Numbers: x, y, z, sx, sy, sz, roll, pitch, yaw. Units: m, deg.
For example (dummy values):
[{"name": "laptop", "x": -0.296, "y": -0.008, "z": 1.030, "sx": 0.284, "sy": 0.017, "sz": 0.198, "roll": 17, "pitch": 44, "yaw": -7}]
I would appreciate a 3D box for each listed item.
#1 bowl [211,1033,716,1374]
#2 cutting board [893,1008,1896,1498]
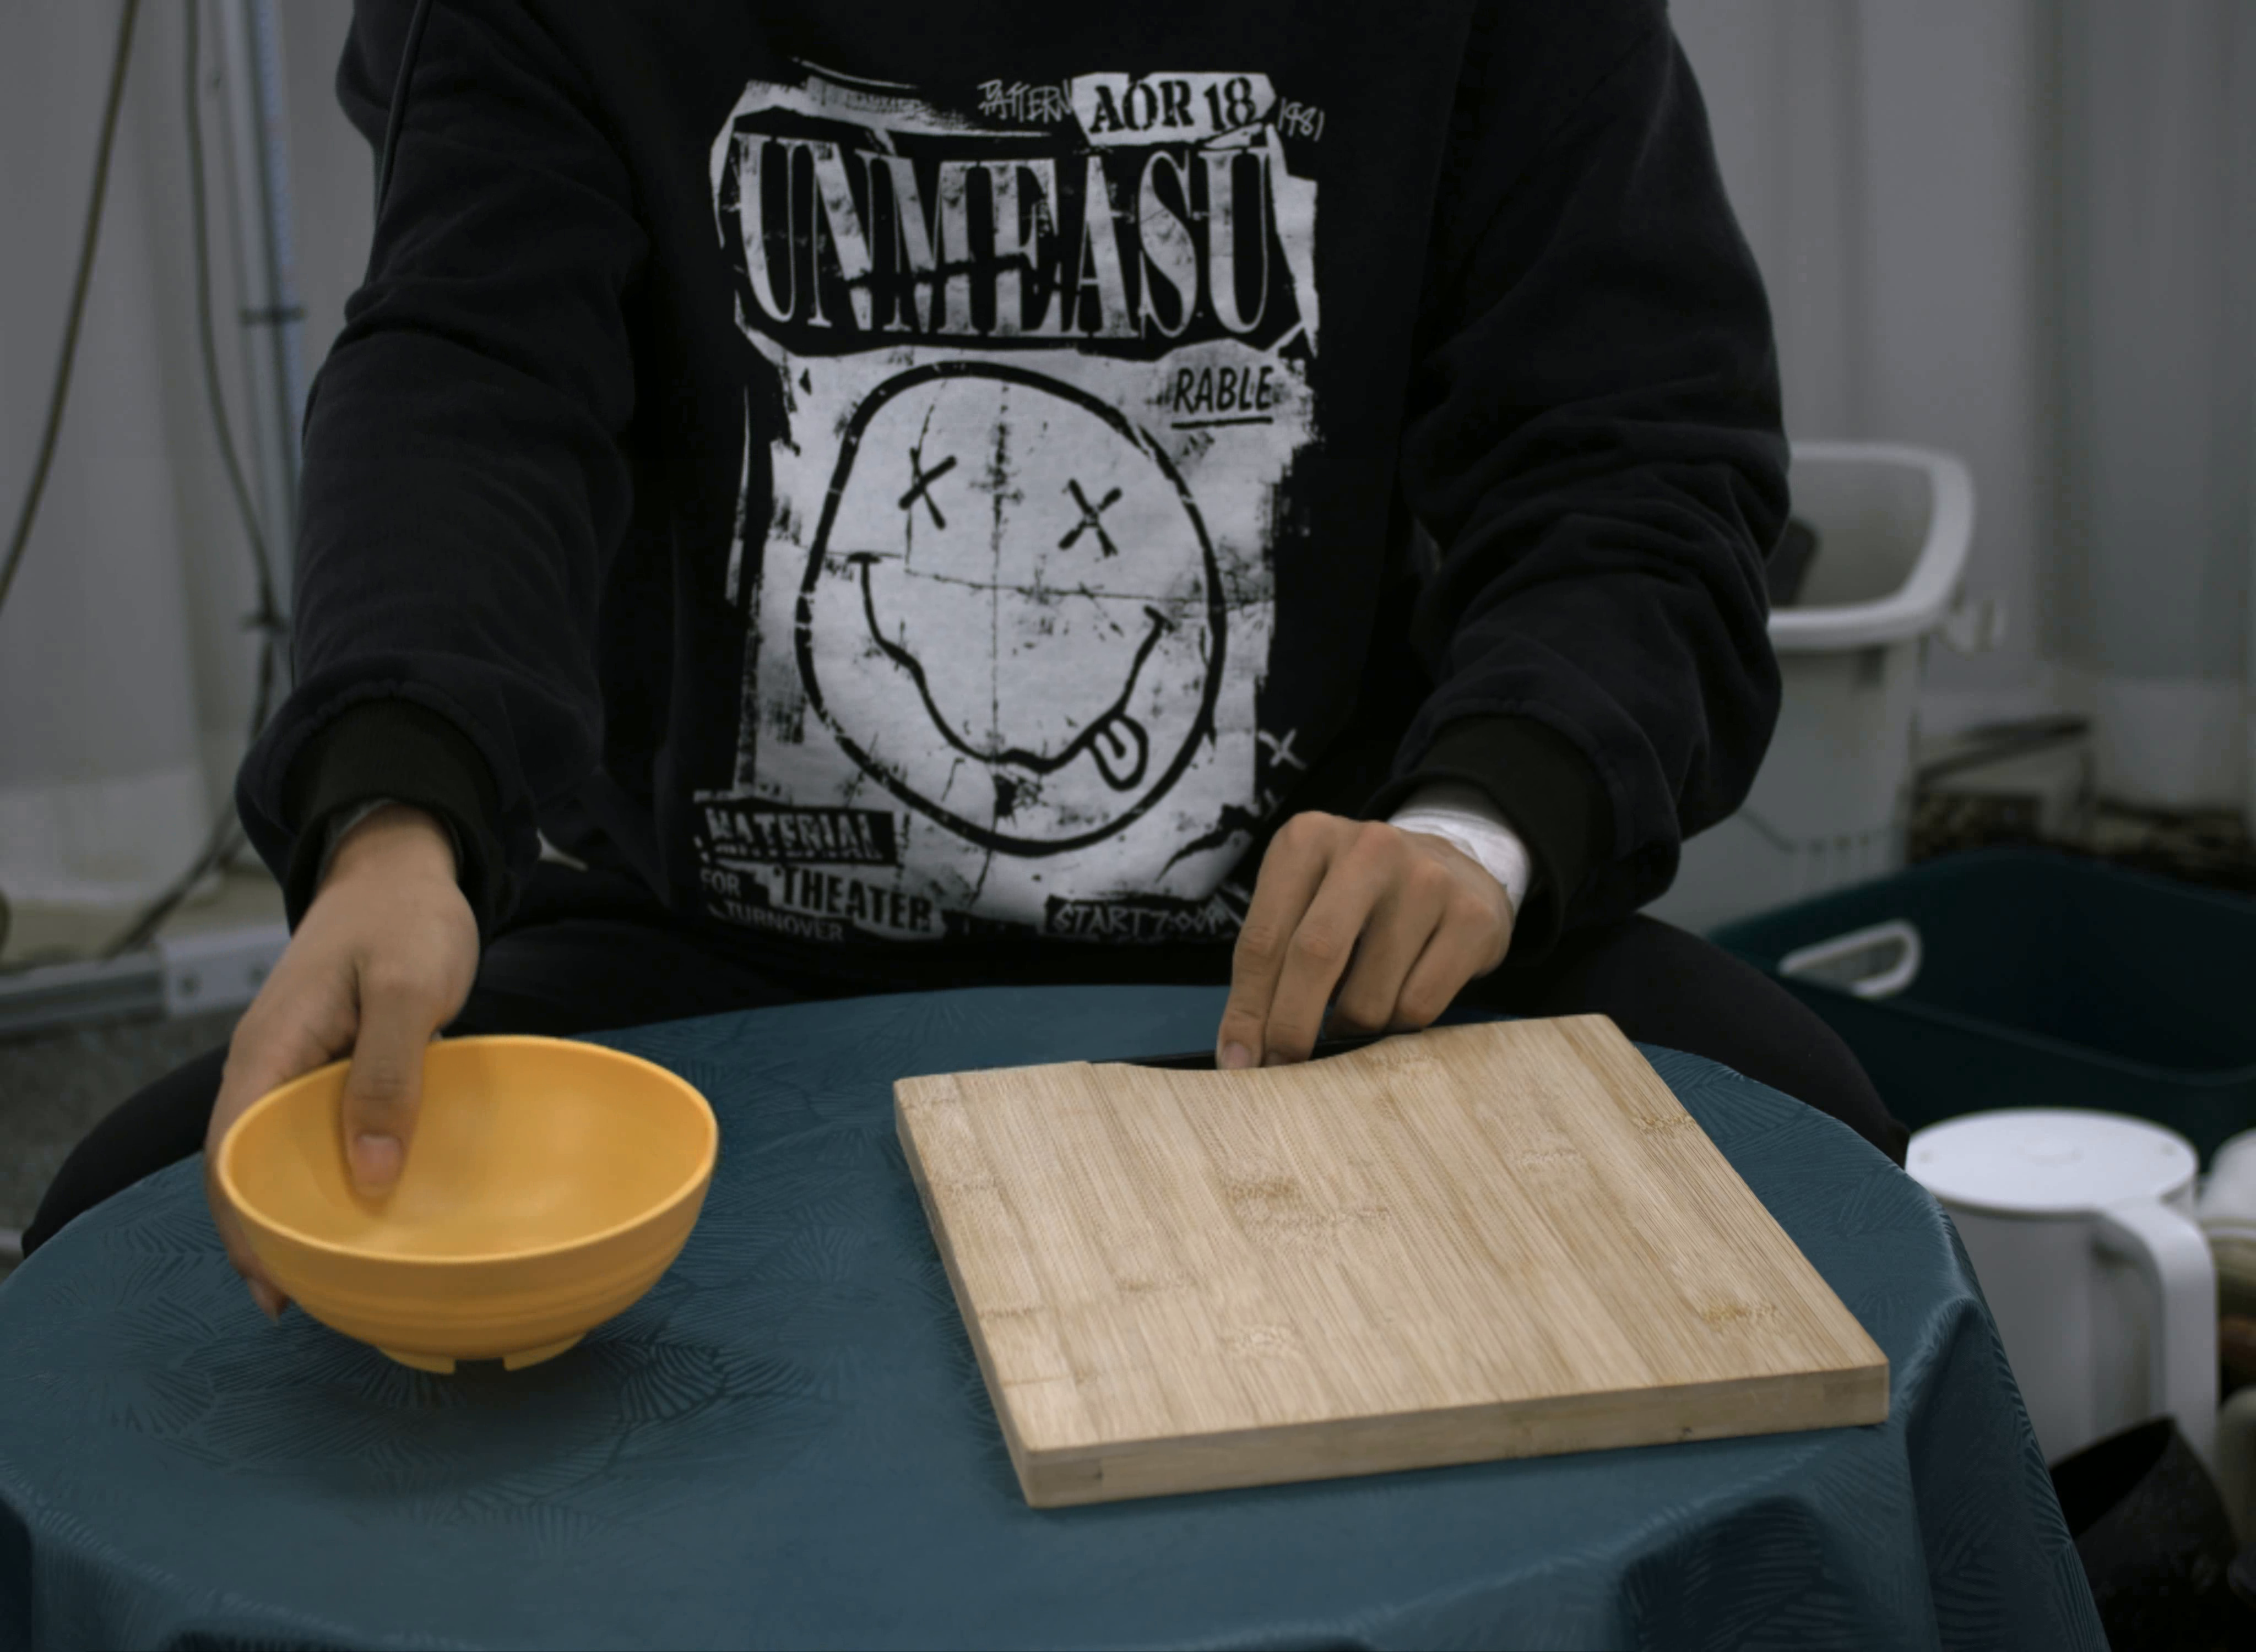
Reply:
[{"name": "bowl", "x": -0.192, "y": 0.117, "z": 1.583, "sx": 0.145, "sy": 0.059, "sz": 0.147, "roll": 2, "pitch": 23, "yaw": -1}, {"name": "cutting board", "x": 0.067, "y": 0.122, "z": 1.642, "sx": 0.249, "sy": 0.023, "sz": 0.351, "roll": -5, "pitch": 15, "yaw": -8}]
